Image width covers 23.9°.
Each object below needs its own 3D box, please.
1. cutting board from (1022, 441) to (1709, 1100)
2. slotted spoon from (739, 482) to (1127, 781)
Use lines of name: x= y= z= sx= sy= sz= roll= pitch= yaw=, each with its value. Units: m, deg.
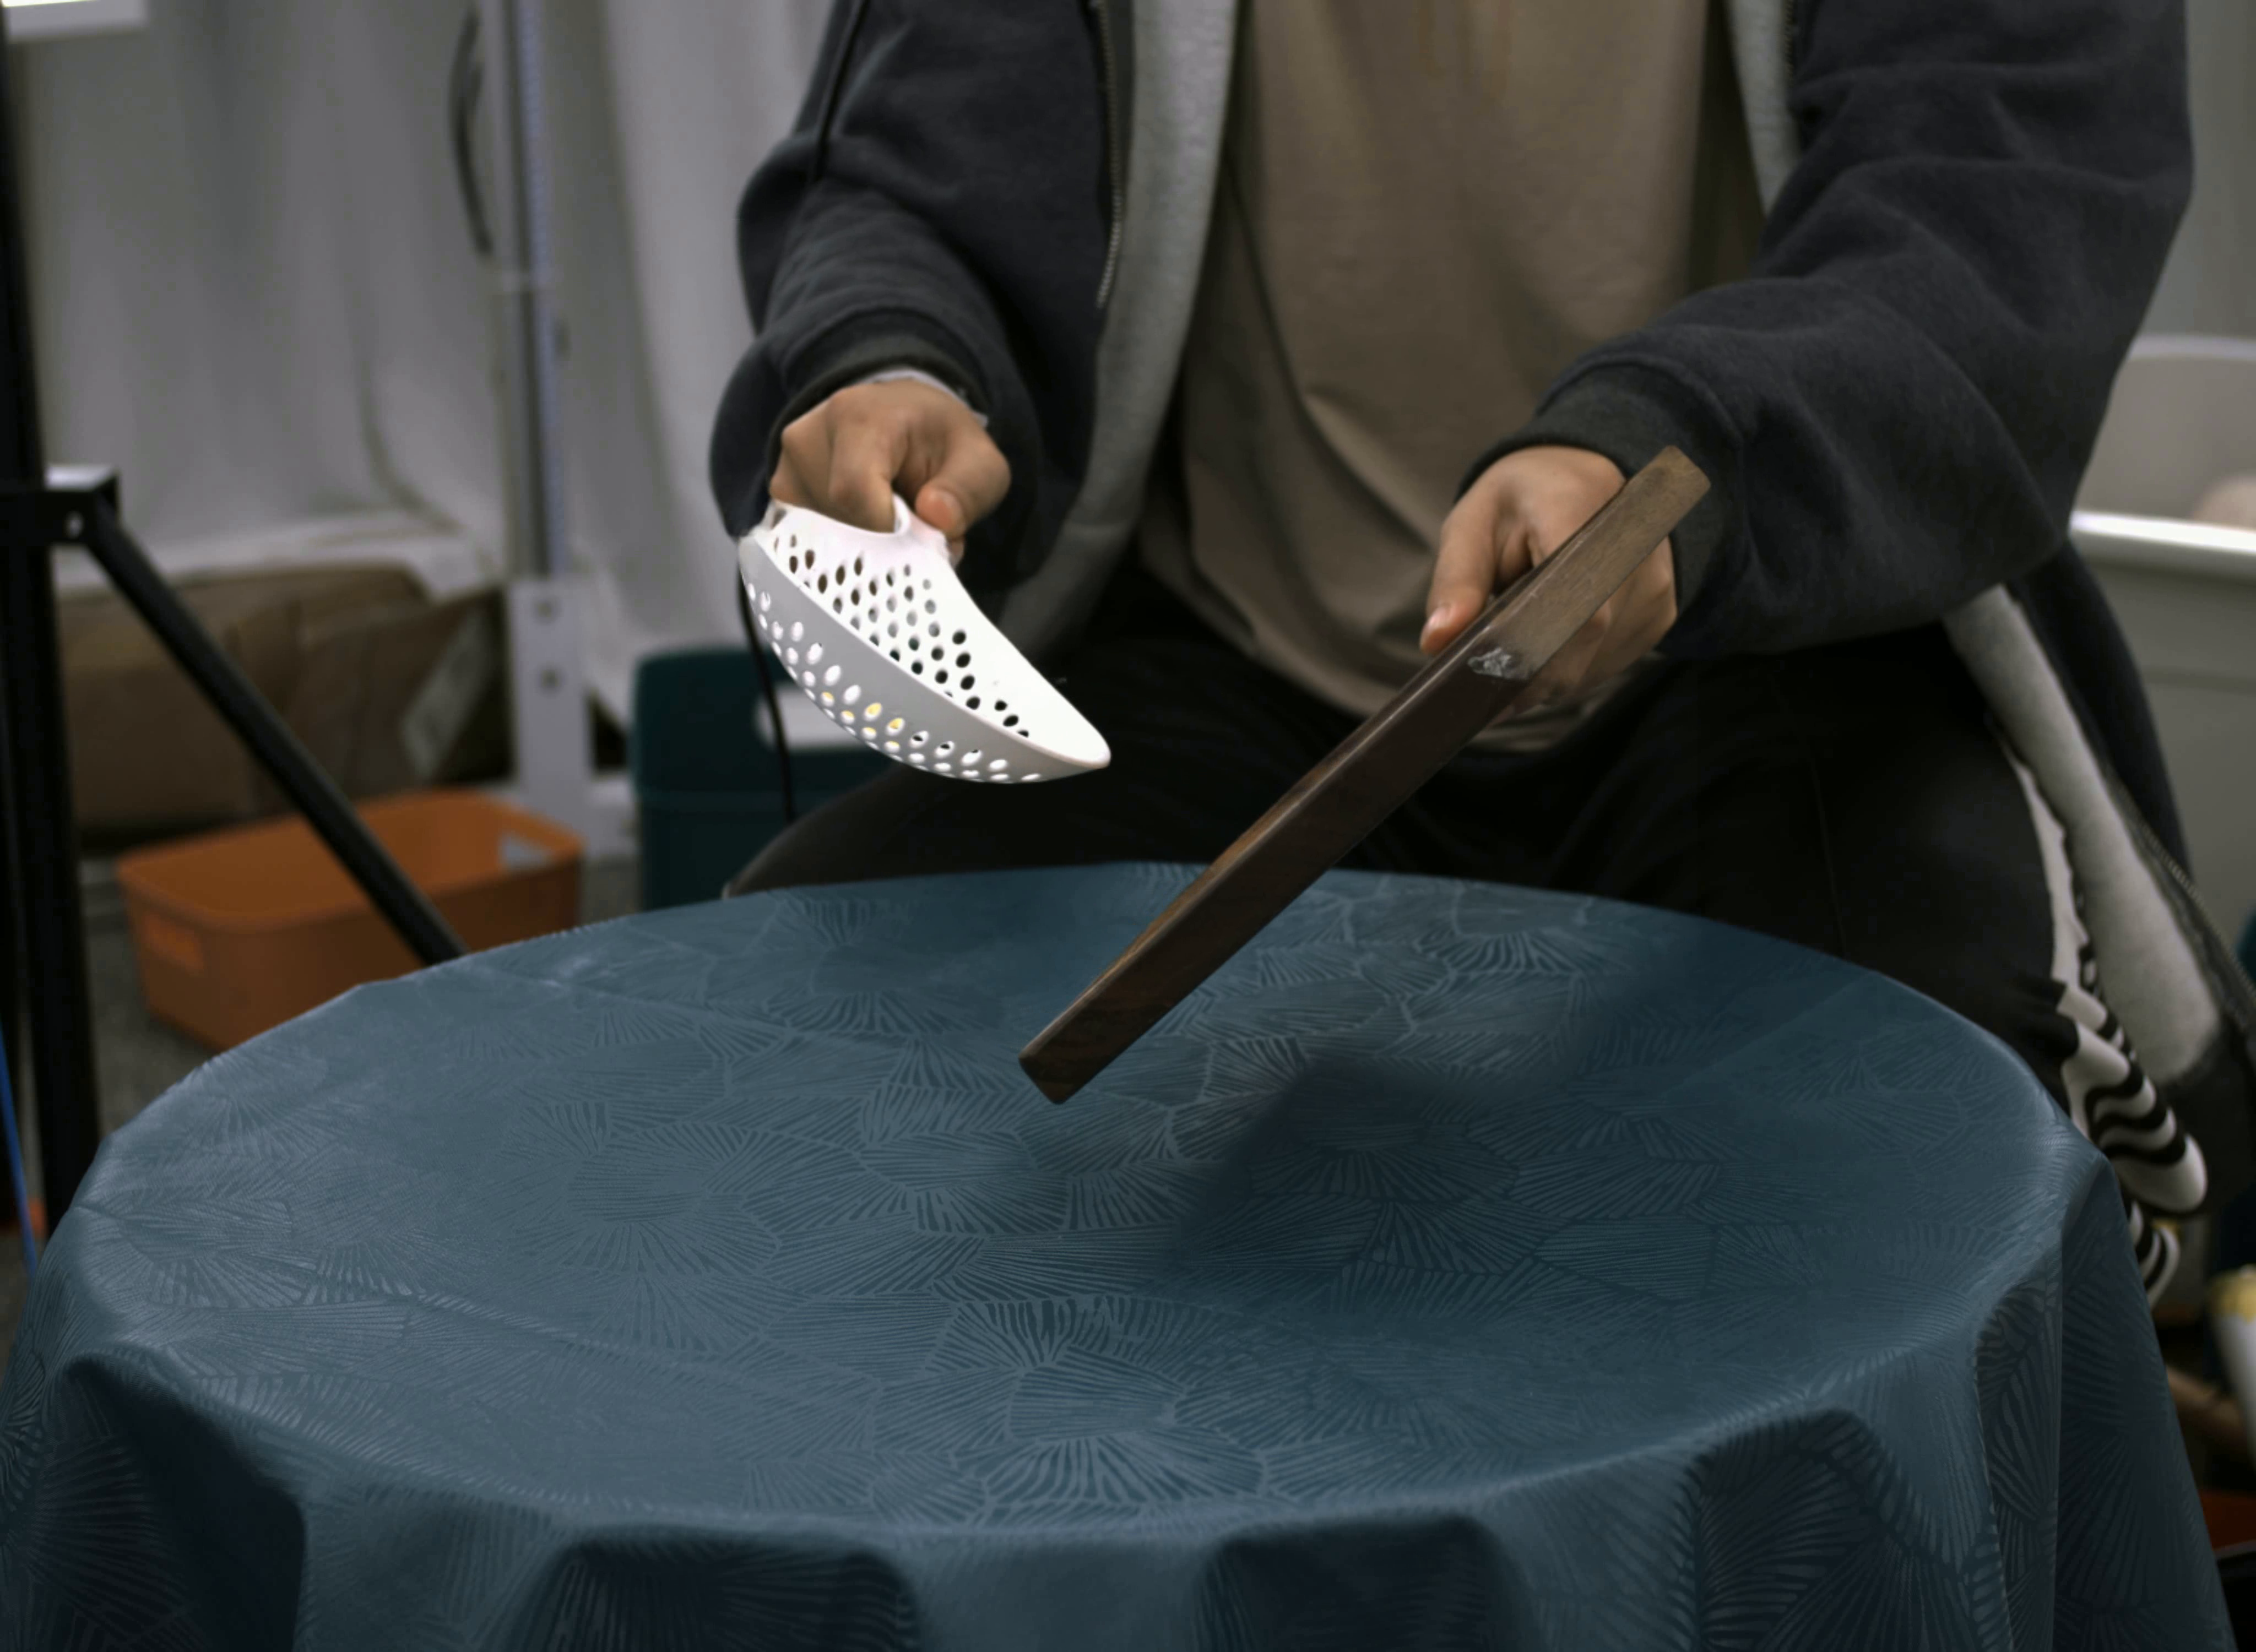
cutting board: x=0.087 y=-0.033 z=1.594 sx=0.203 sy=0.023 sz=0.349 roll=-42 pitch=1 yaw=23
slotted spoon: x=-0.072 y=-0.076 z=1.687 sx=0.135 sy=0.050 sz=0.350 roll=32 pitch=13 yaw=-10
